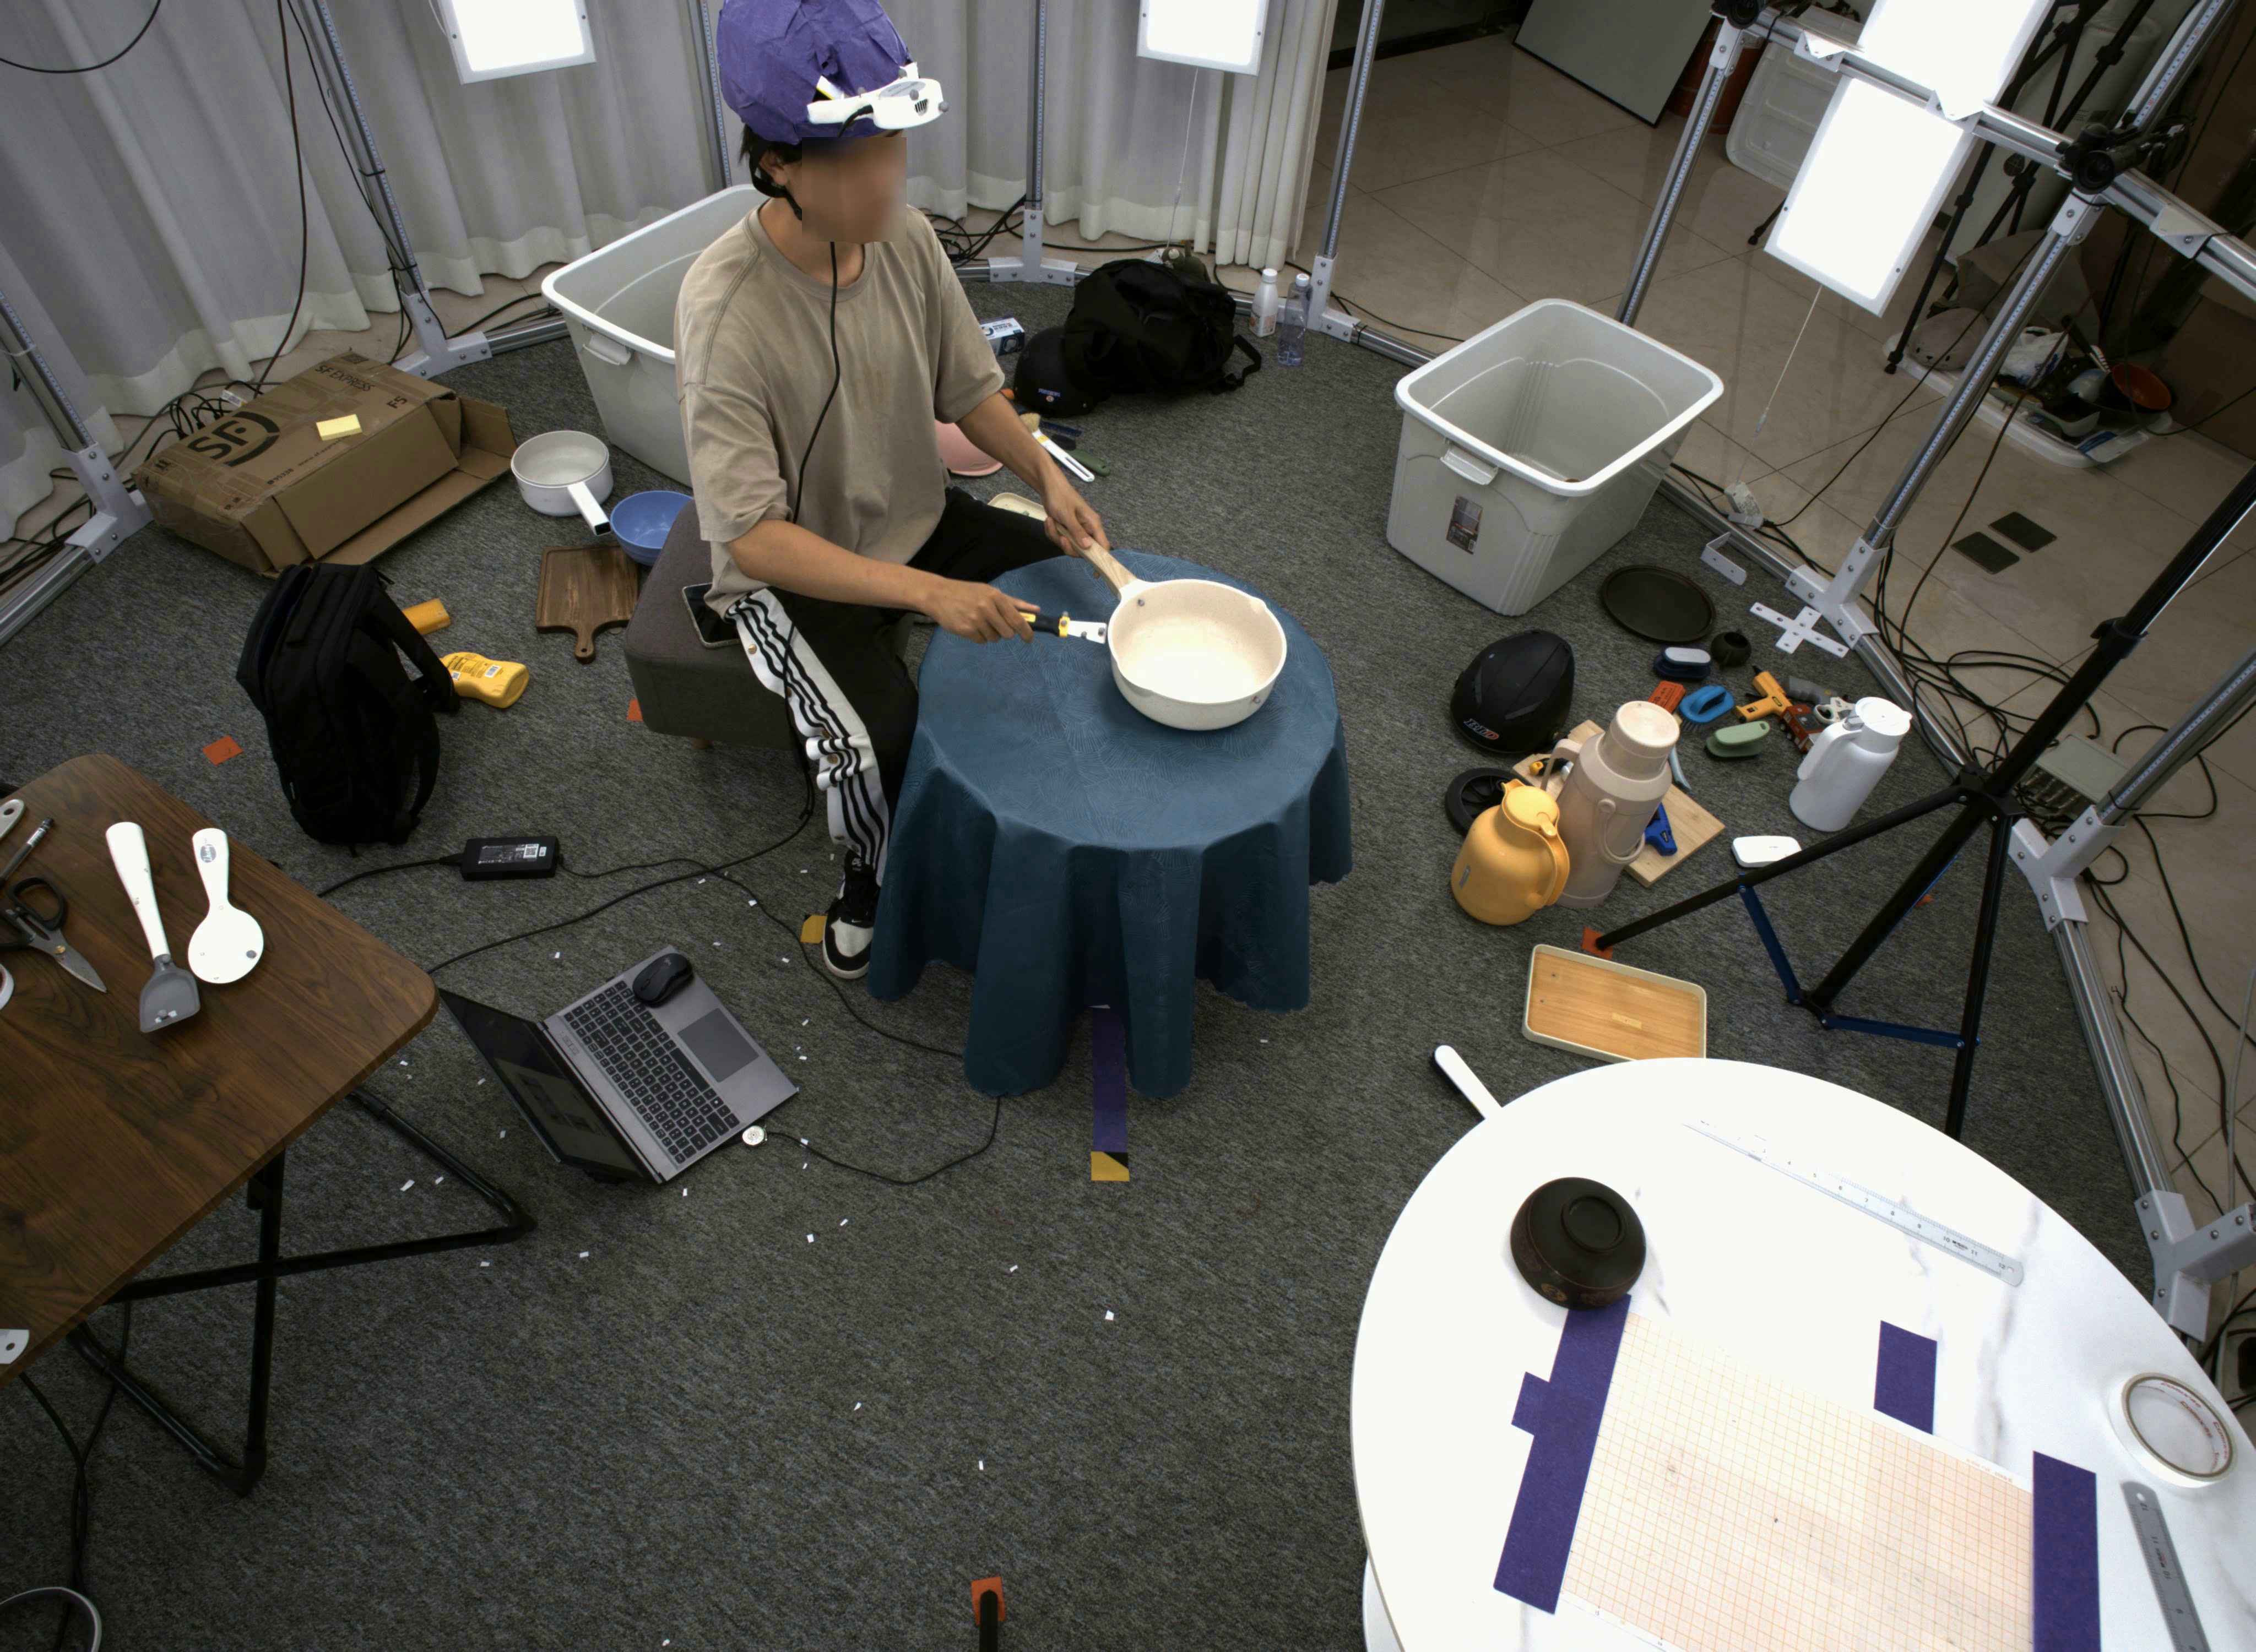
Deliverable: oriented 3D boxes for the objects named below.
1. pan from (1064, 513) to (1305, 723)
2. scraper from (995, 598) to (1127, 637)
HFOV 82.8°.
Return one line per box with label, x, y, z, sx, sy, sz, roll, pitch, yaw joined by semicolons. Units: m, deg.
pan;0.059;-0.308;1.867;0.265;0.099;0.442;-34;59;-27
scraper;-0.087;-0.272;1.670;0.171;0.014;0.039;7;60;-4
